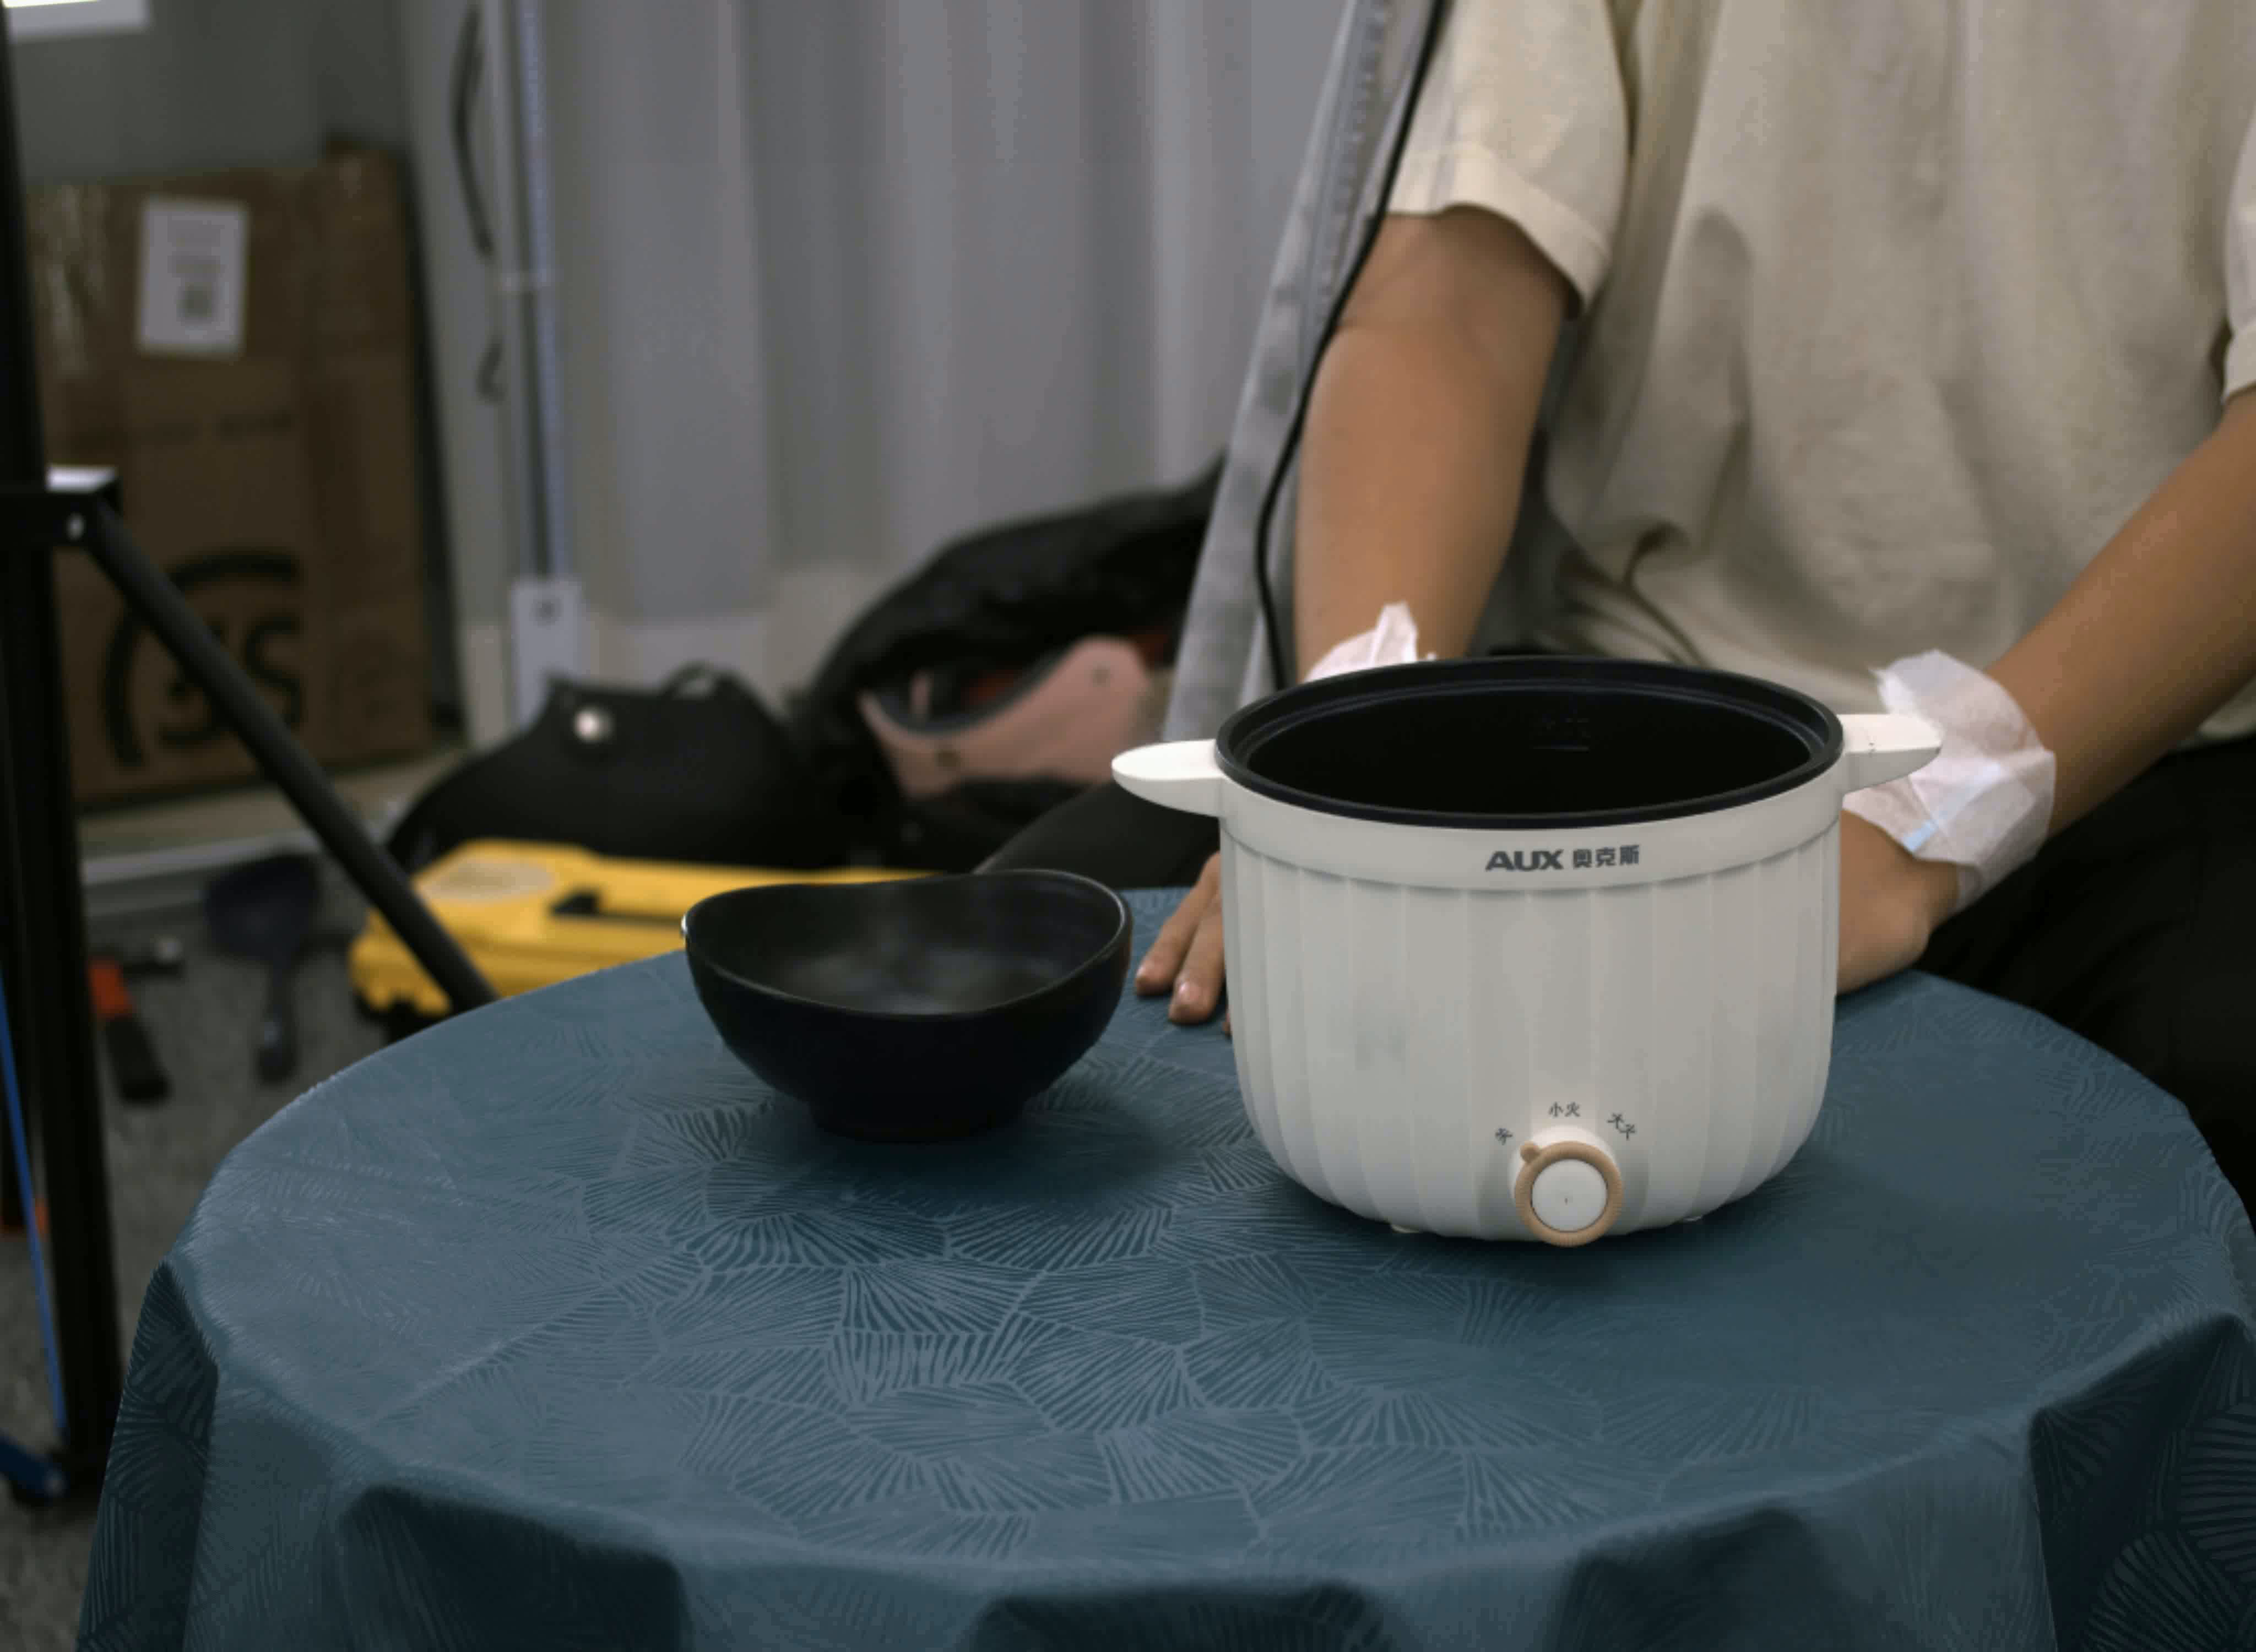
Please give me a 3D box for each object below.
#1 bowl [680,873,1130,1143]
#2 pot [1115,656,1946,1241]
[{"bbox_3d":[-0.068,0.057,1.630,0.136,0.067,0.172,-3,15,-7],"label":"bowl"},{"bbox_3d":[0.119,0.038,1.532,0.239,0.143,0.191,-3,12,0],"label":"pot"}]
